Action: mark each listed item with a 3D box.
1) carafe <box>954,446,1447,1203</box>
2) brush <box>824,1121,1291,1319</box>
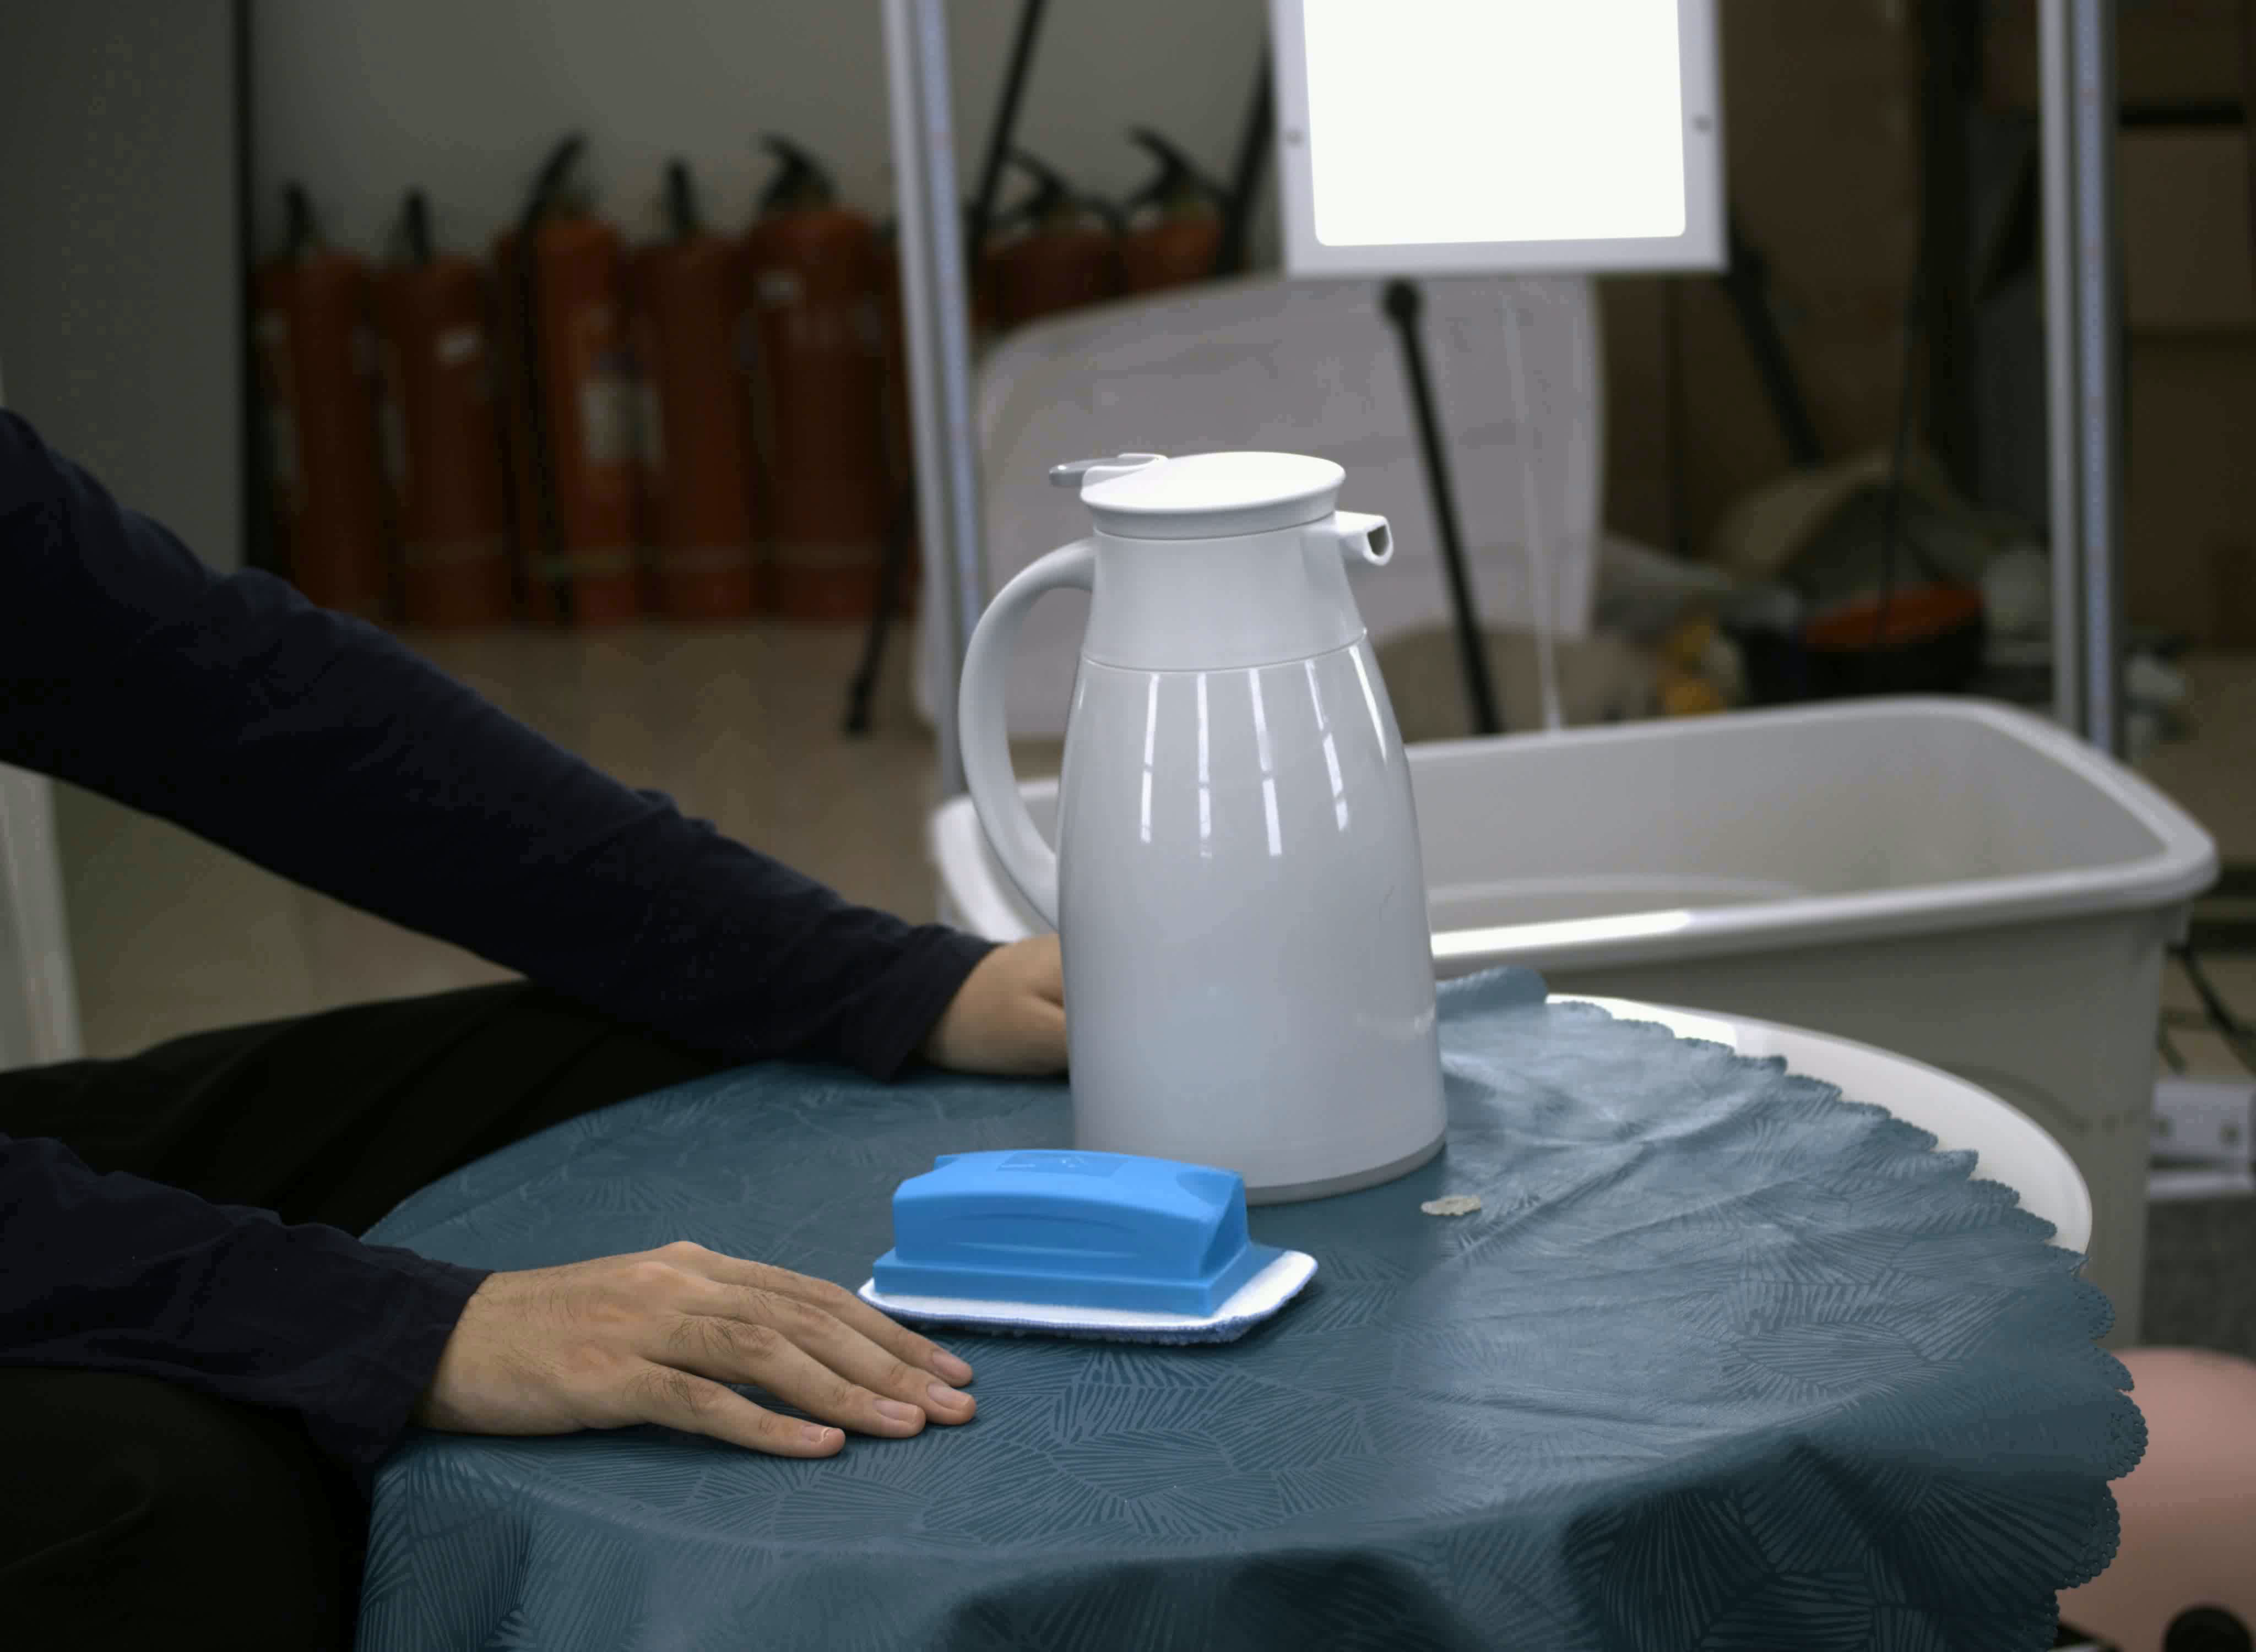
[{"bbox_3d":[0.020,-0.006,1.912,0.170,0.249,0.130,1,15,27],"label":"carafe"},{"bbox_3d":[-0.023,0.127,1.779,0.146,0.056,0.082,5,13,28],"label":"brush"}]
